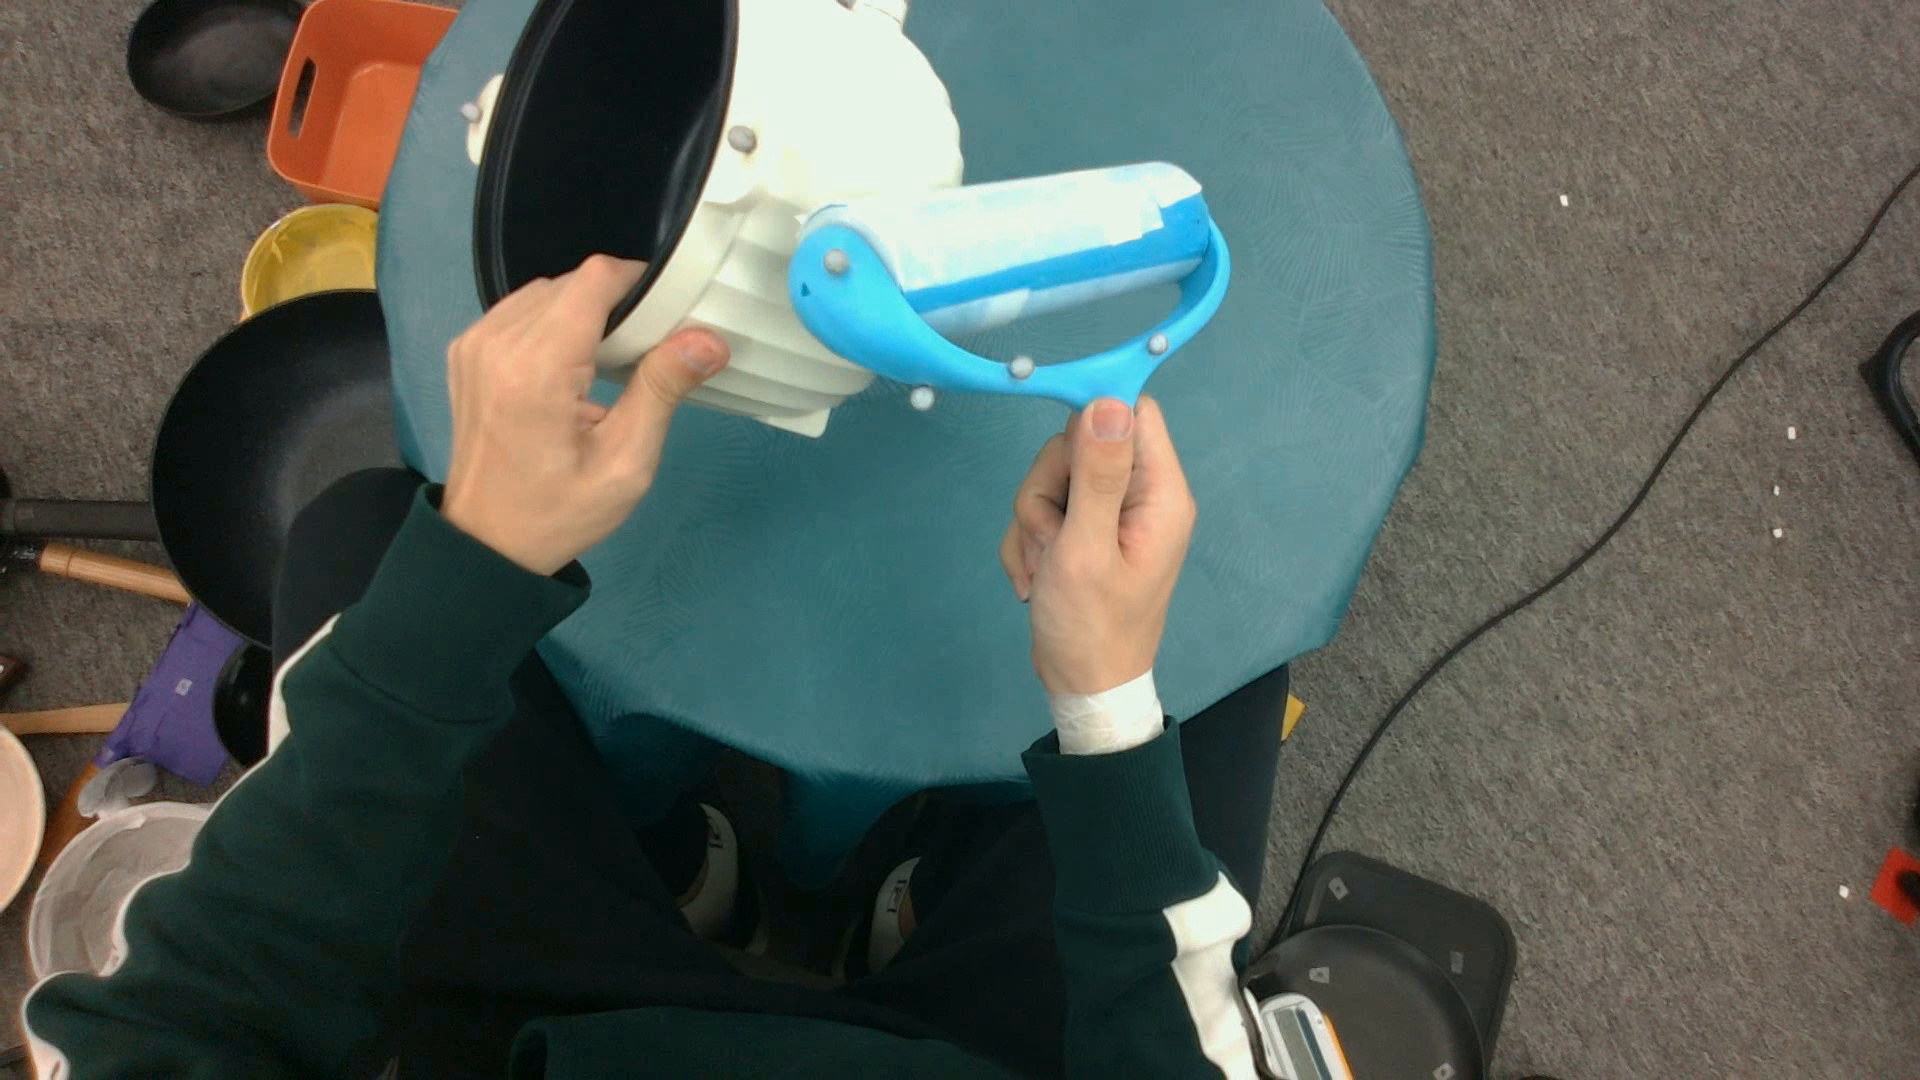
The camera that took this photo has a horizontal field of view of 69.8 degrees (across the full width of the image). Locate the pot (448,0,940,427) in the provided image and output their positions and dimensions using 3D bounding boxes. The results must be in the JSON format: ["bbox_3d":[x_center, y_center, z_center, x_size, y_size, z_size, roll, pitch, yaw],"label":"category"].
[{"bbox_3d":[-0.102,-0.151,0.569,0.143,0.240,0.190,8,97,-45],"label":"pot"}]

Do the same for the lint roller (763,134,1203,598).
[{"bbox_3d":[0.030,-0.064,0.545,0.230,0.068,0.180,-29,109,-46],"label":"lint roller"}]
